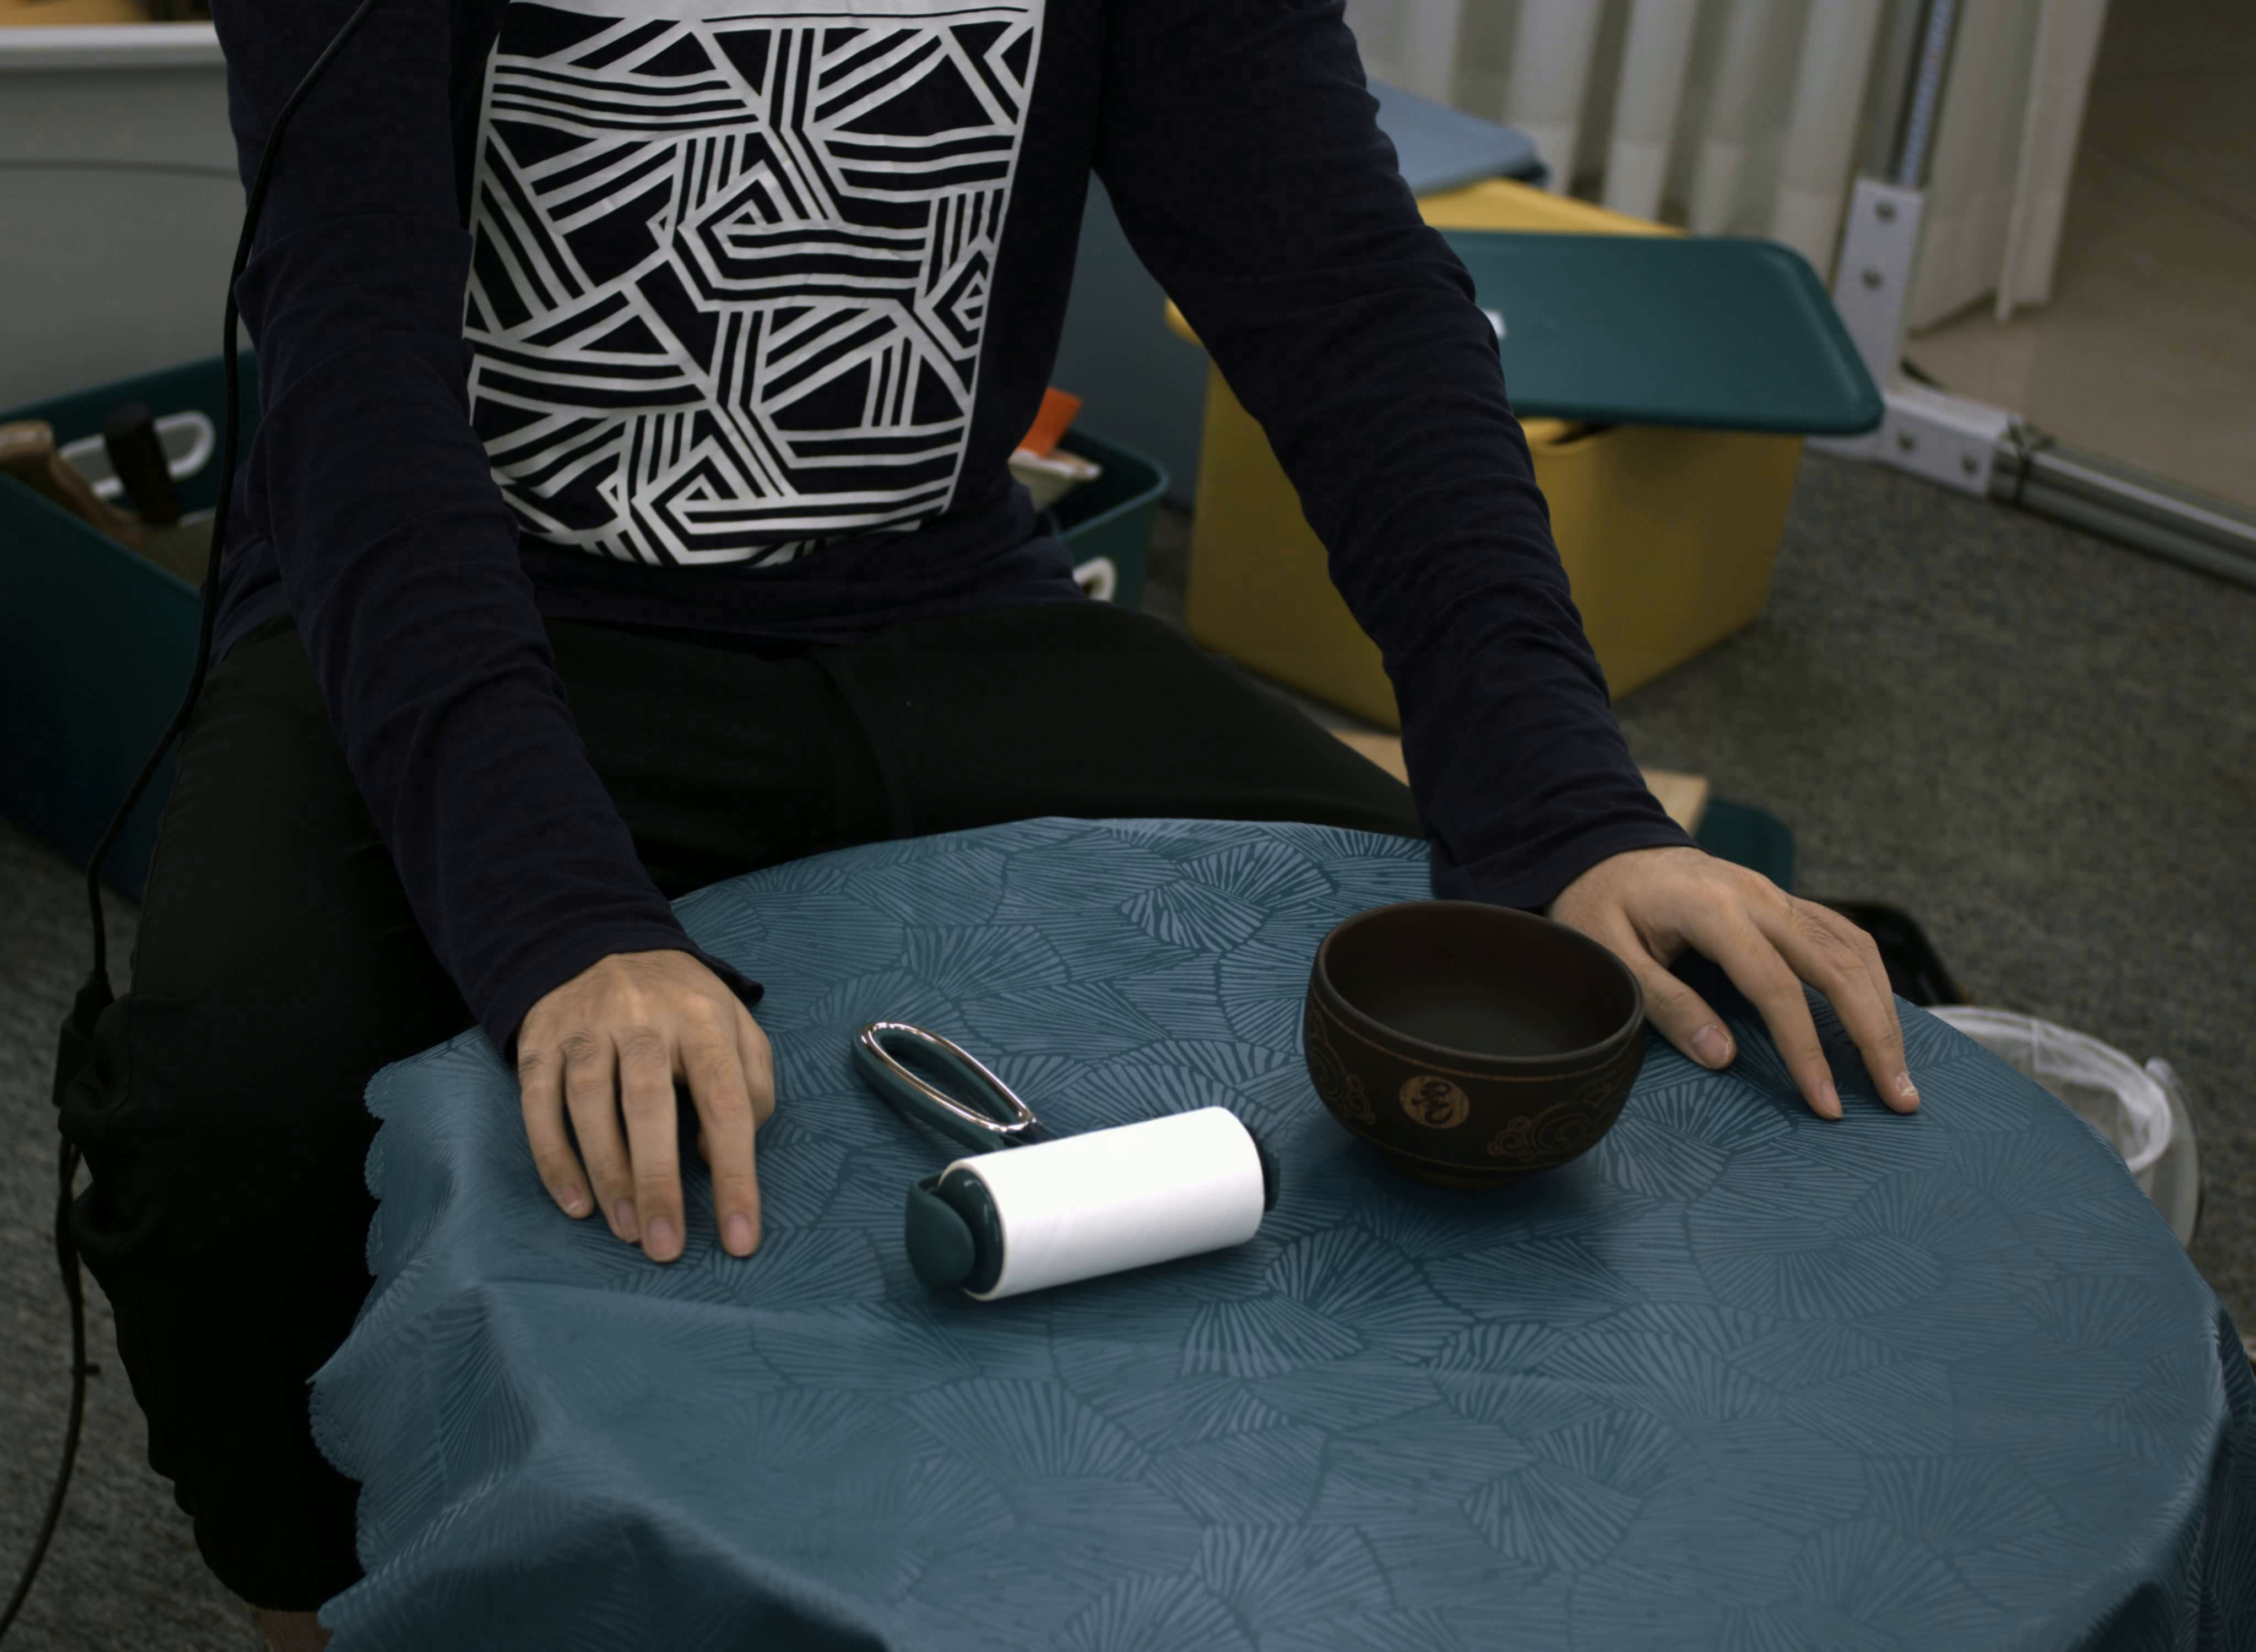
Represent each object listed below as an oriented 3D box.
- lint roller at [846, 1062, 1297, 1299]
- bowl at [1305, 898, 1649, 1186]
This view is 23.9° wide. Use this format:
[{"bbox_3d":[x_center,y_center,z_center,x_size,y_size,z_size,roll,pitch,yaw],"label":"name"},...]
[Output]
[{"bbox_3d":[-0.045,0.099,1.803,0.133,0.048,0.181,-11,27,-29],"label":"lint roller"},{"bbox_3d":[0.119,0.081,1.837,0.117,0.069,0.119,3,26,-2],"label":"bowl"}]
